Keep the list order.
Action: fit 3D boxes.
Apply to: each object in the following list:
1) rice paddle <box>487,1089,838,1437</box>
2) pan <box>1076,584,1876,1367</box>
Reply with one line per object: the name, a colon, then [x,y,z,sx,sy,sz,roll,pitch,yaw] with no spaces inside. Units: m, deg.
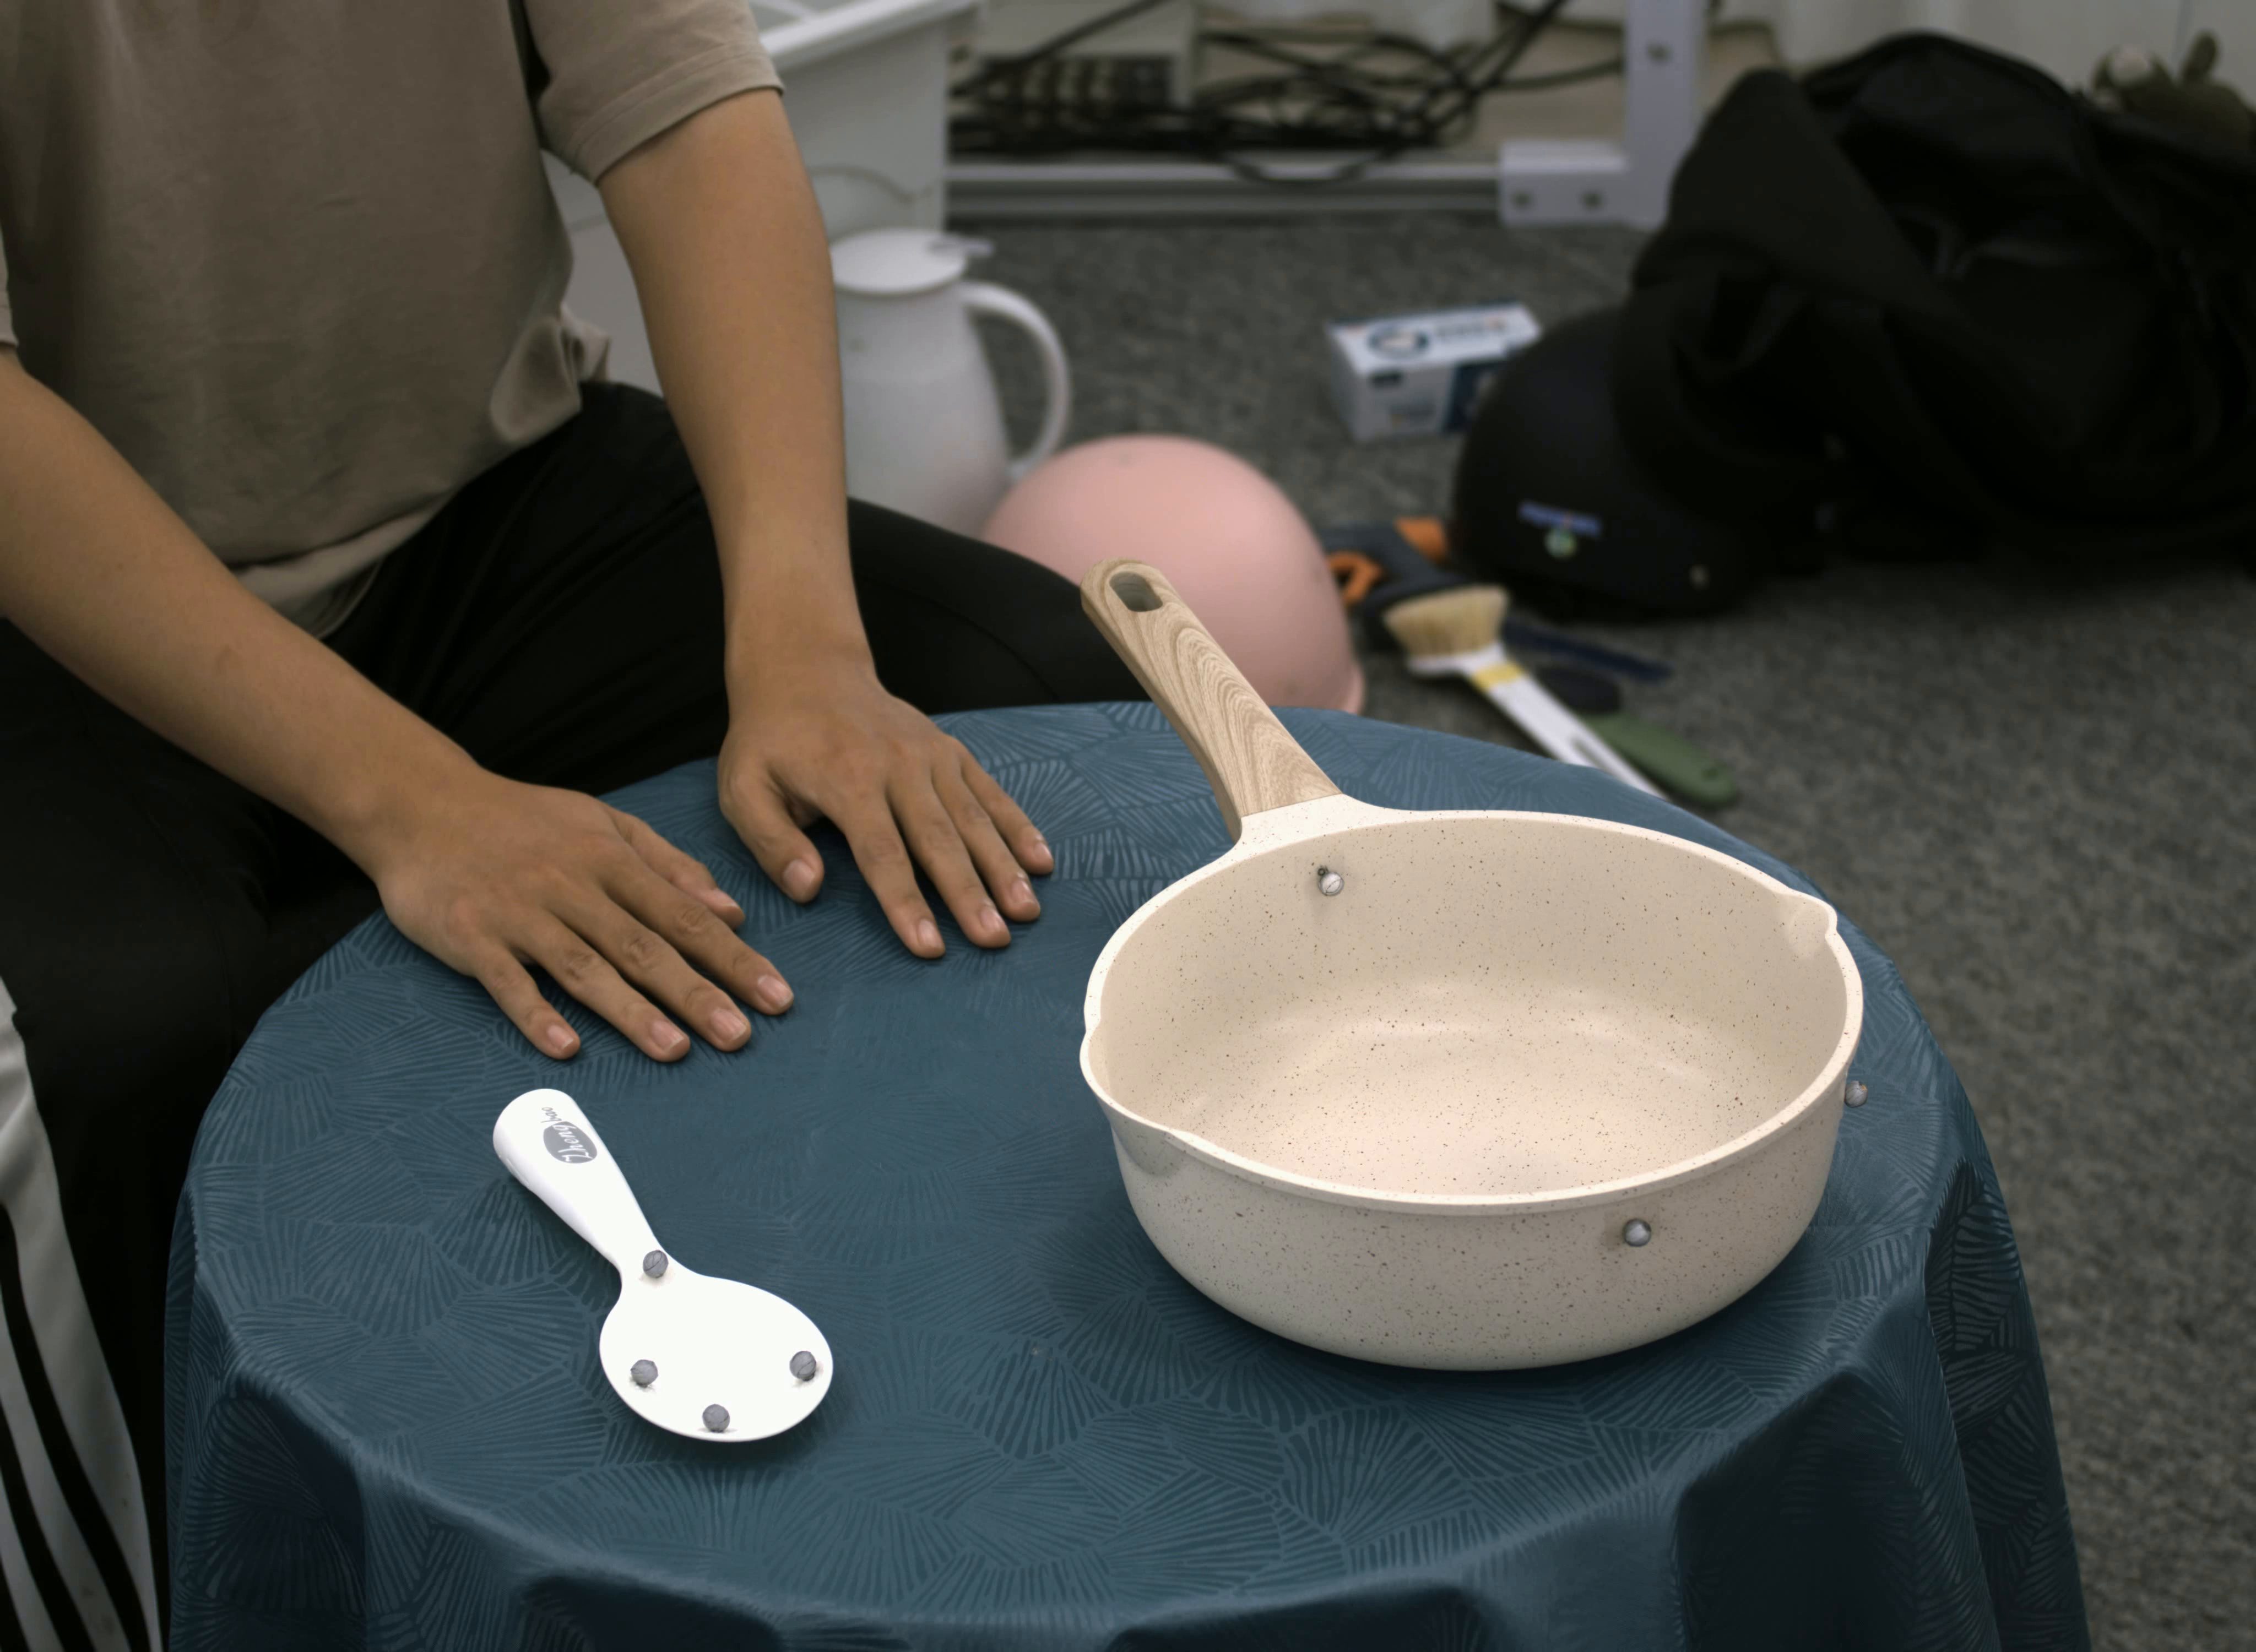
rice paddle: [-0.154,0.142,1.803,0.069,0.029,0.206,-17,31,-22]
pan: [0.082,0.044,1.904,0.264,0.101,0.438,-15,29,-18]
